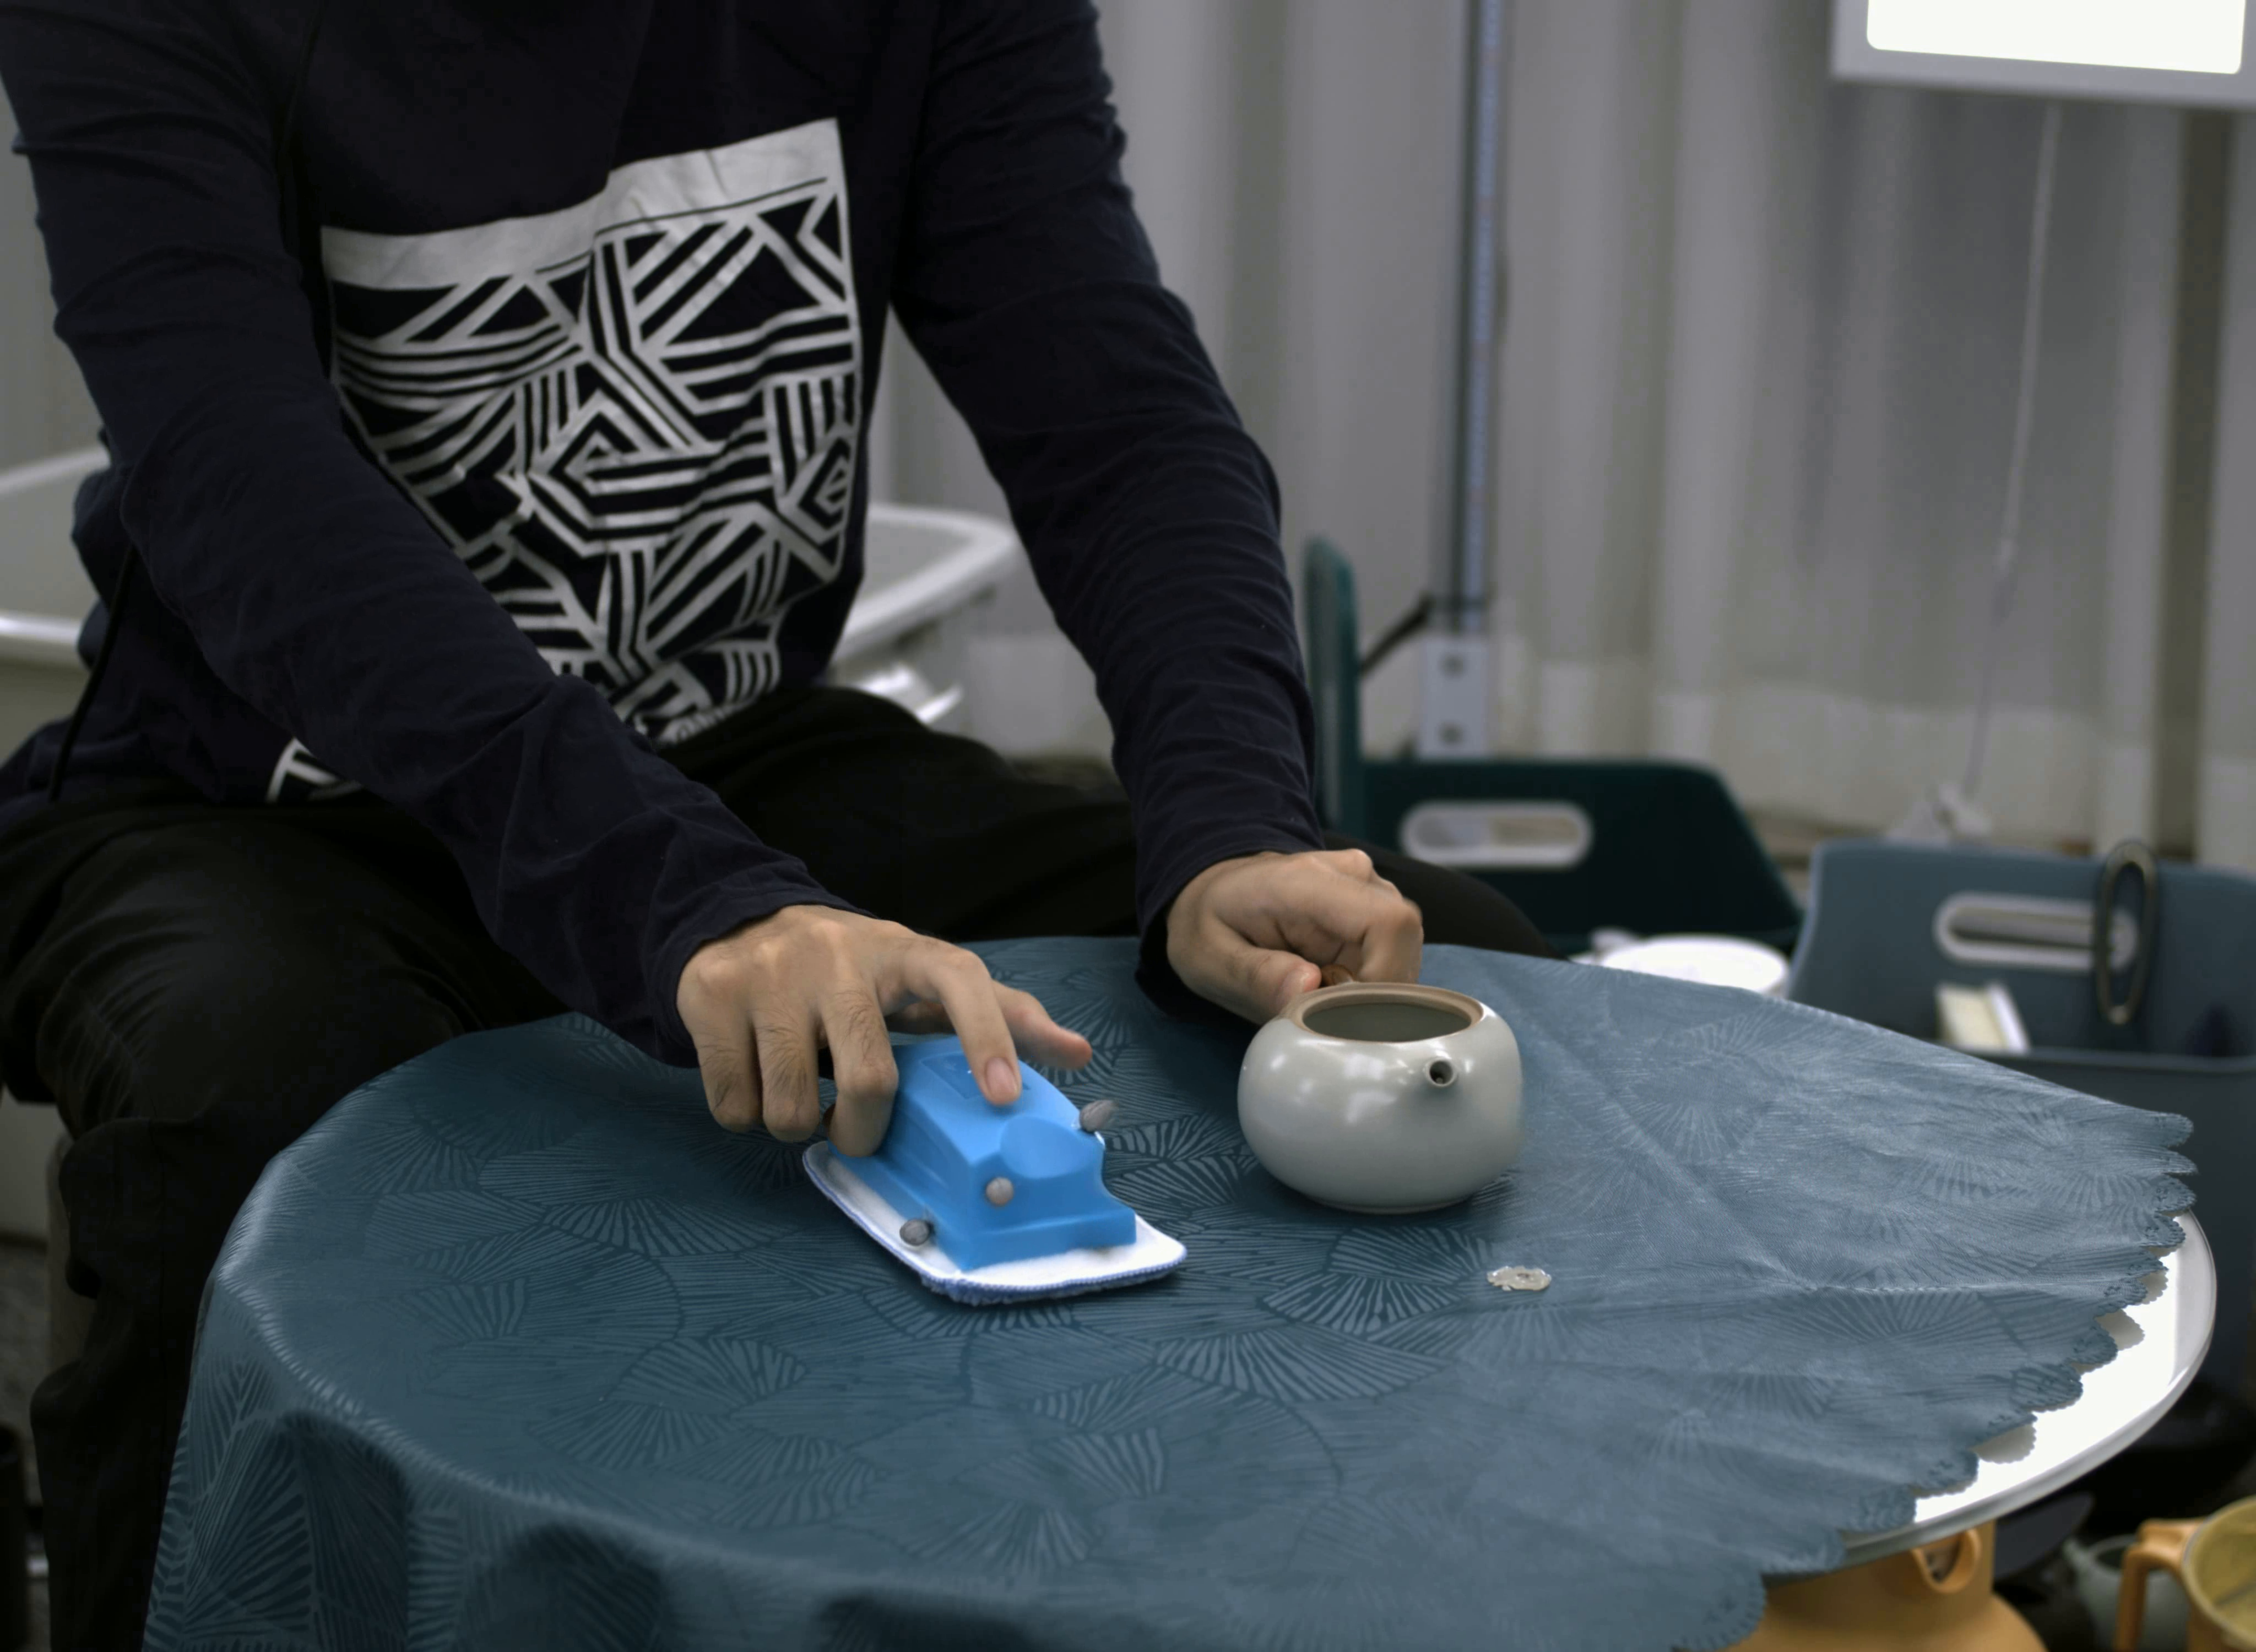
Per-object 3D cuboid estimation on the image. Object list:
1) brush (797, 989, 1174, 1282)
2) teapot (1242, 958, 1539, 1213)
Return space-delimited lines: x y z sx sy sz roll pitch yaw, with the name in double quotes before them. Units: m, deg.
"brush" -0.041 0.089 1.580 0.084 0.056 0.142 0 21 -24
"teapot" 0.078 0.080 1.633 0.092 0.060 0.126 -8 19 -17
